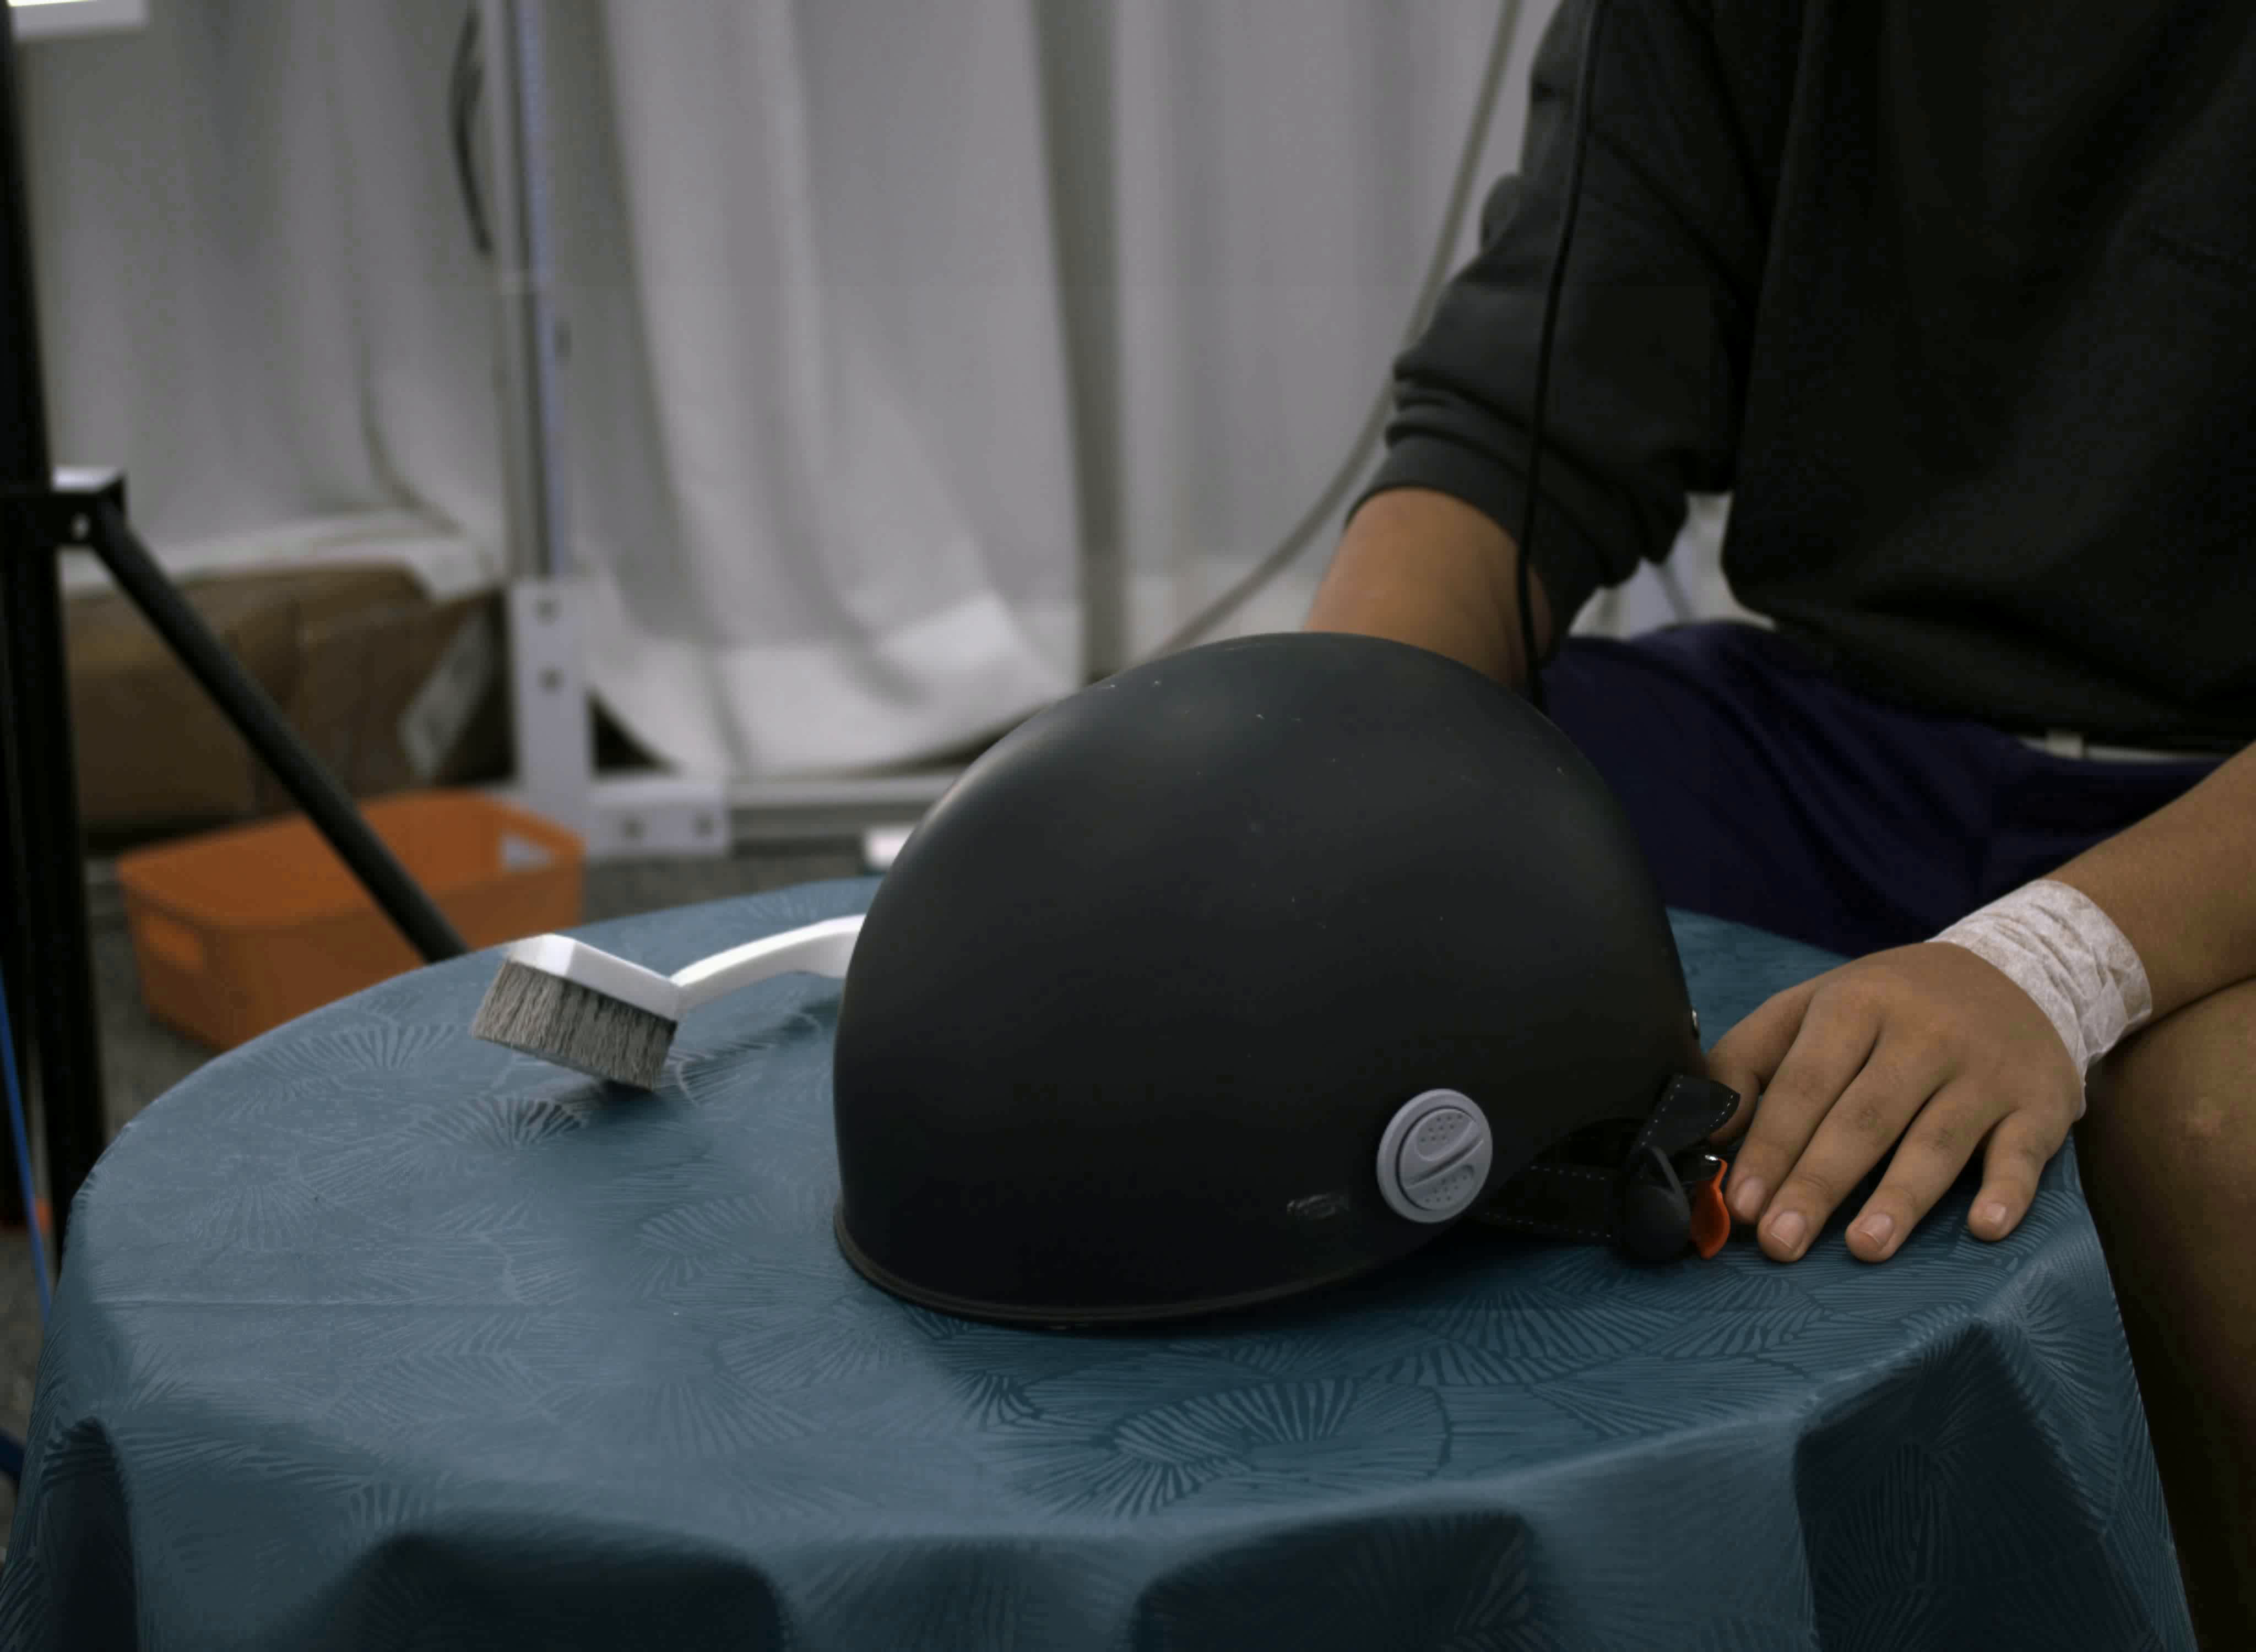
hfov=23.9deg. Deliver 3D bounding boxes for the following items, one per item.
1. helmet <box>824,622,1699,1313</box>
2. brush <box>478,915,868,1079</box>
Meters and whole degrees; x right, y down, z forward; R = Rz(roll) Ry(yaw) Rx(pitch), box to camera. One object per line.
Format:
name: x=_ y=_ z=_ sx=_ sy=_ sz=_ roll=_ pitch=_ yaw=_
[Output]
helmet: x=0.034 y=0.030 z=1.542 sx=0.267 sy=0.166 sz=0.235 roll=-17 pitch=18 yaw=-37
brush: x=-0.116 y=0.054 z=1.728 sx=0.035 sy=0.050 sz=0.237 roll=5 pitch=4 yaw=39
